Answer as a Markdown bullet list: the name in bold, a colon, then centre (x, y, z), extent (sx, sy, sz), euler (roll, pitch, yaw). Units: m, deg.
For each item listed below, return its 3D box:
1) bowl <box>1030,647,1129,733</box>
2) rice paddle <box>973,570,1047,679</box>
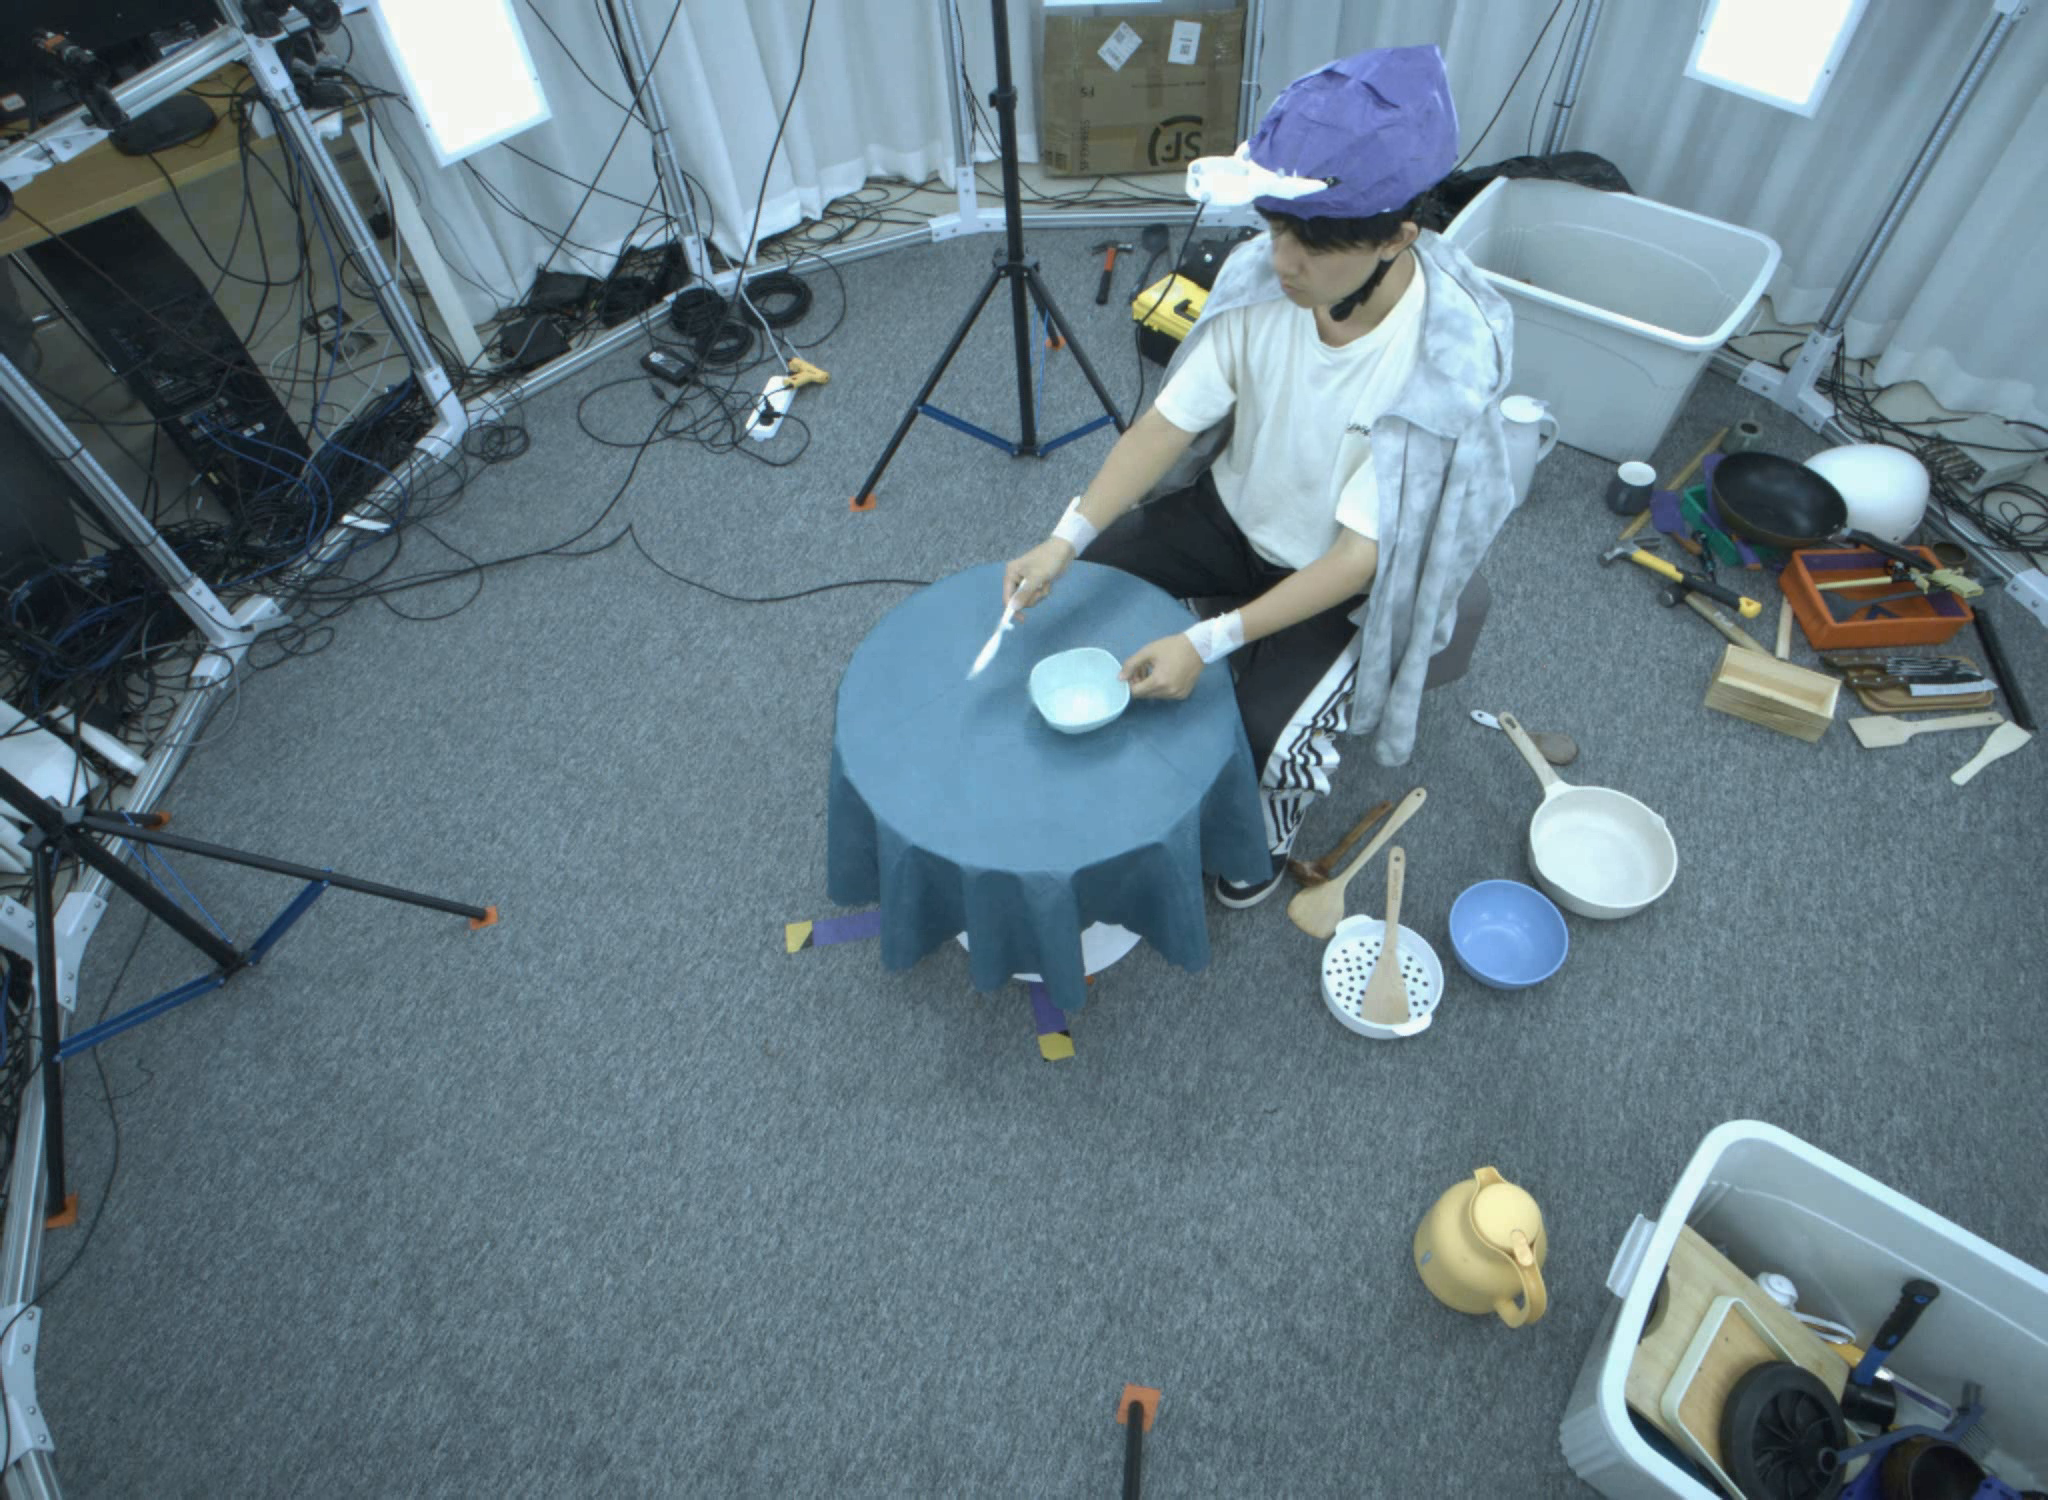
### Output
- **bowl**: centre (0.082, -0.078, 1.806), extent (0.151, 0.059, 0.150), euler (-2, 55, 4)
- **rice paddle**: centre (-0.027, -0.185, 1.808), extent (0.029, 0.068, 0.205), euler (33, 64, -2)
